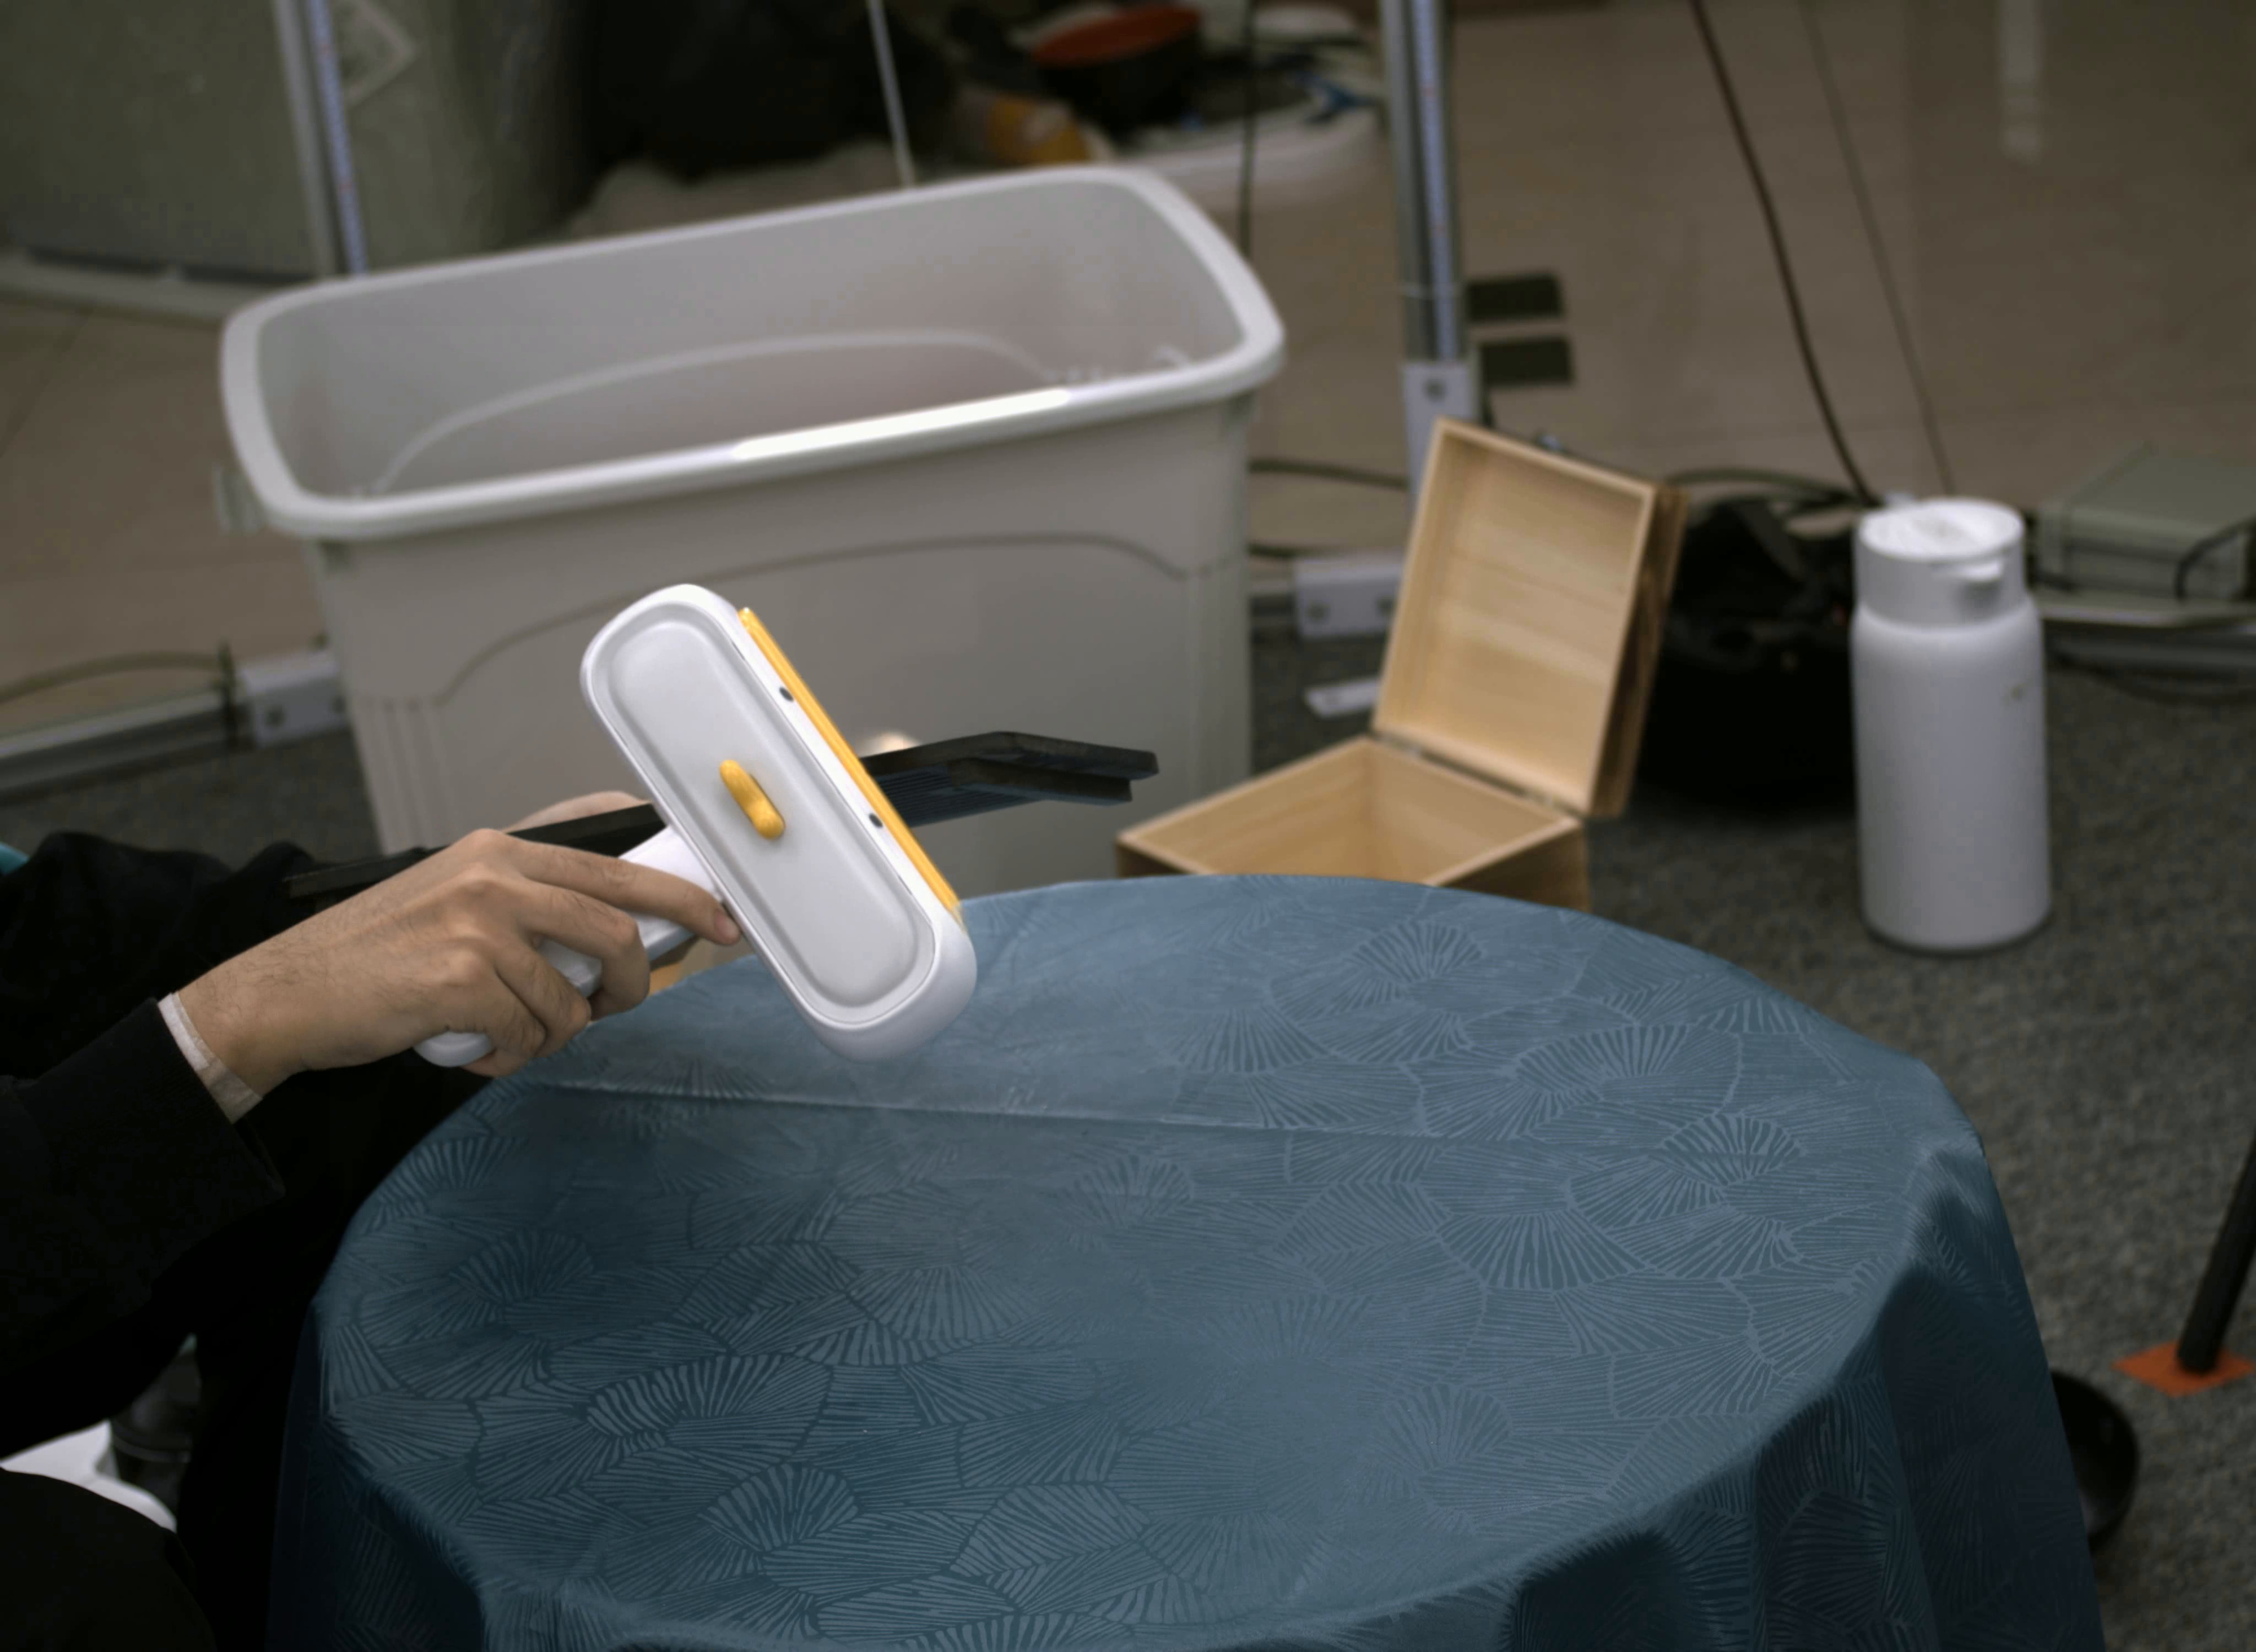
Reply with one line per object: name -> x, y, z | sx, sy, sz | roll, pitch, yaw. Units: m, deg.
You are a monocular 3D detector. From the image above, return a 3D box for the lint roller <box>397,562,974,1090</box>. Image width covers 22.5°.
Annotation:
lint roller -> -0.175, 0.025, 2.004 | 0.192, 0.192, 0.074 | -39, -7, -7

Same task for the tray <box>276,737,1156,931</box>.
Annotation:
tray -> -0.155, 0.006, 2.153 | 0.306, 0.018, 0.170 | -12, -7, 22
